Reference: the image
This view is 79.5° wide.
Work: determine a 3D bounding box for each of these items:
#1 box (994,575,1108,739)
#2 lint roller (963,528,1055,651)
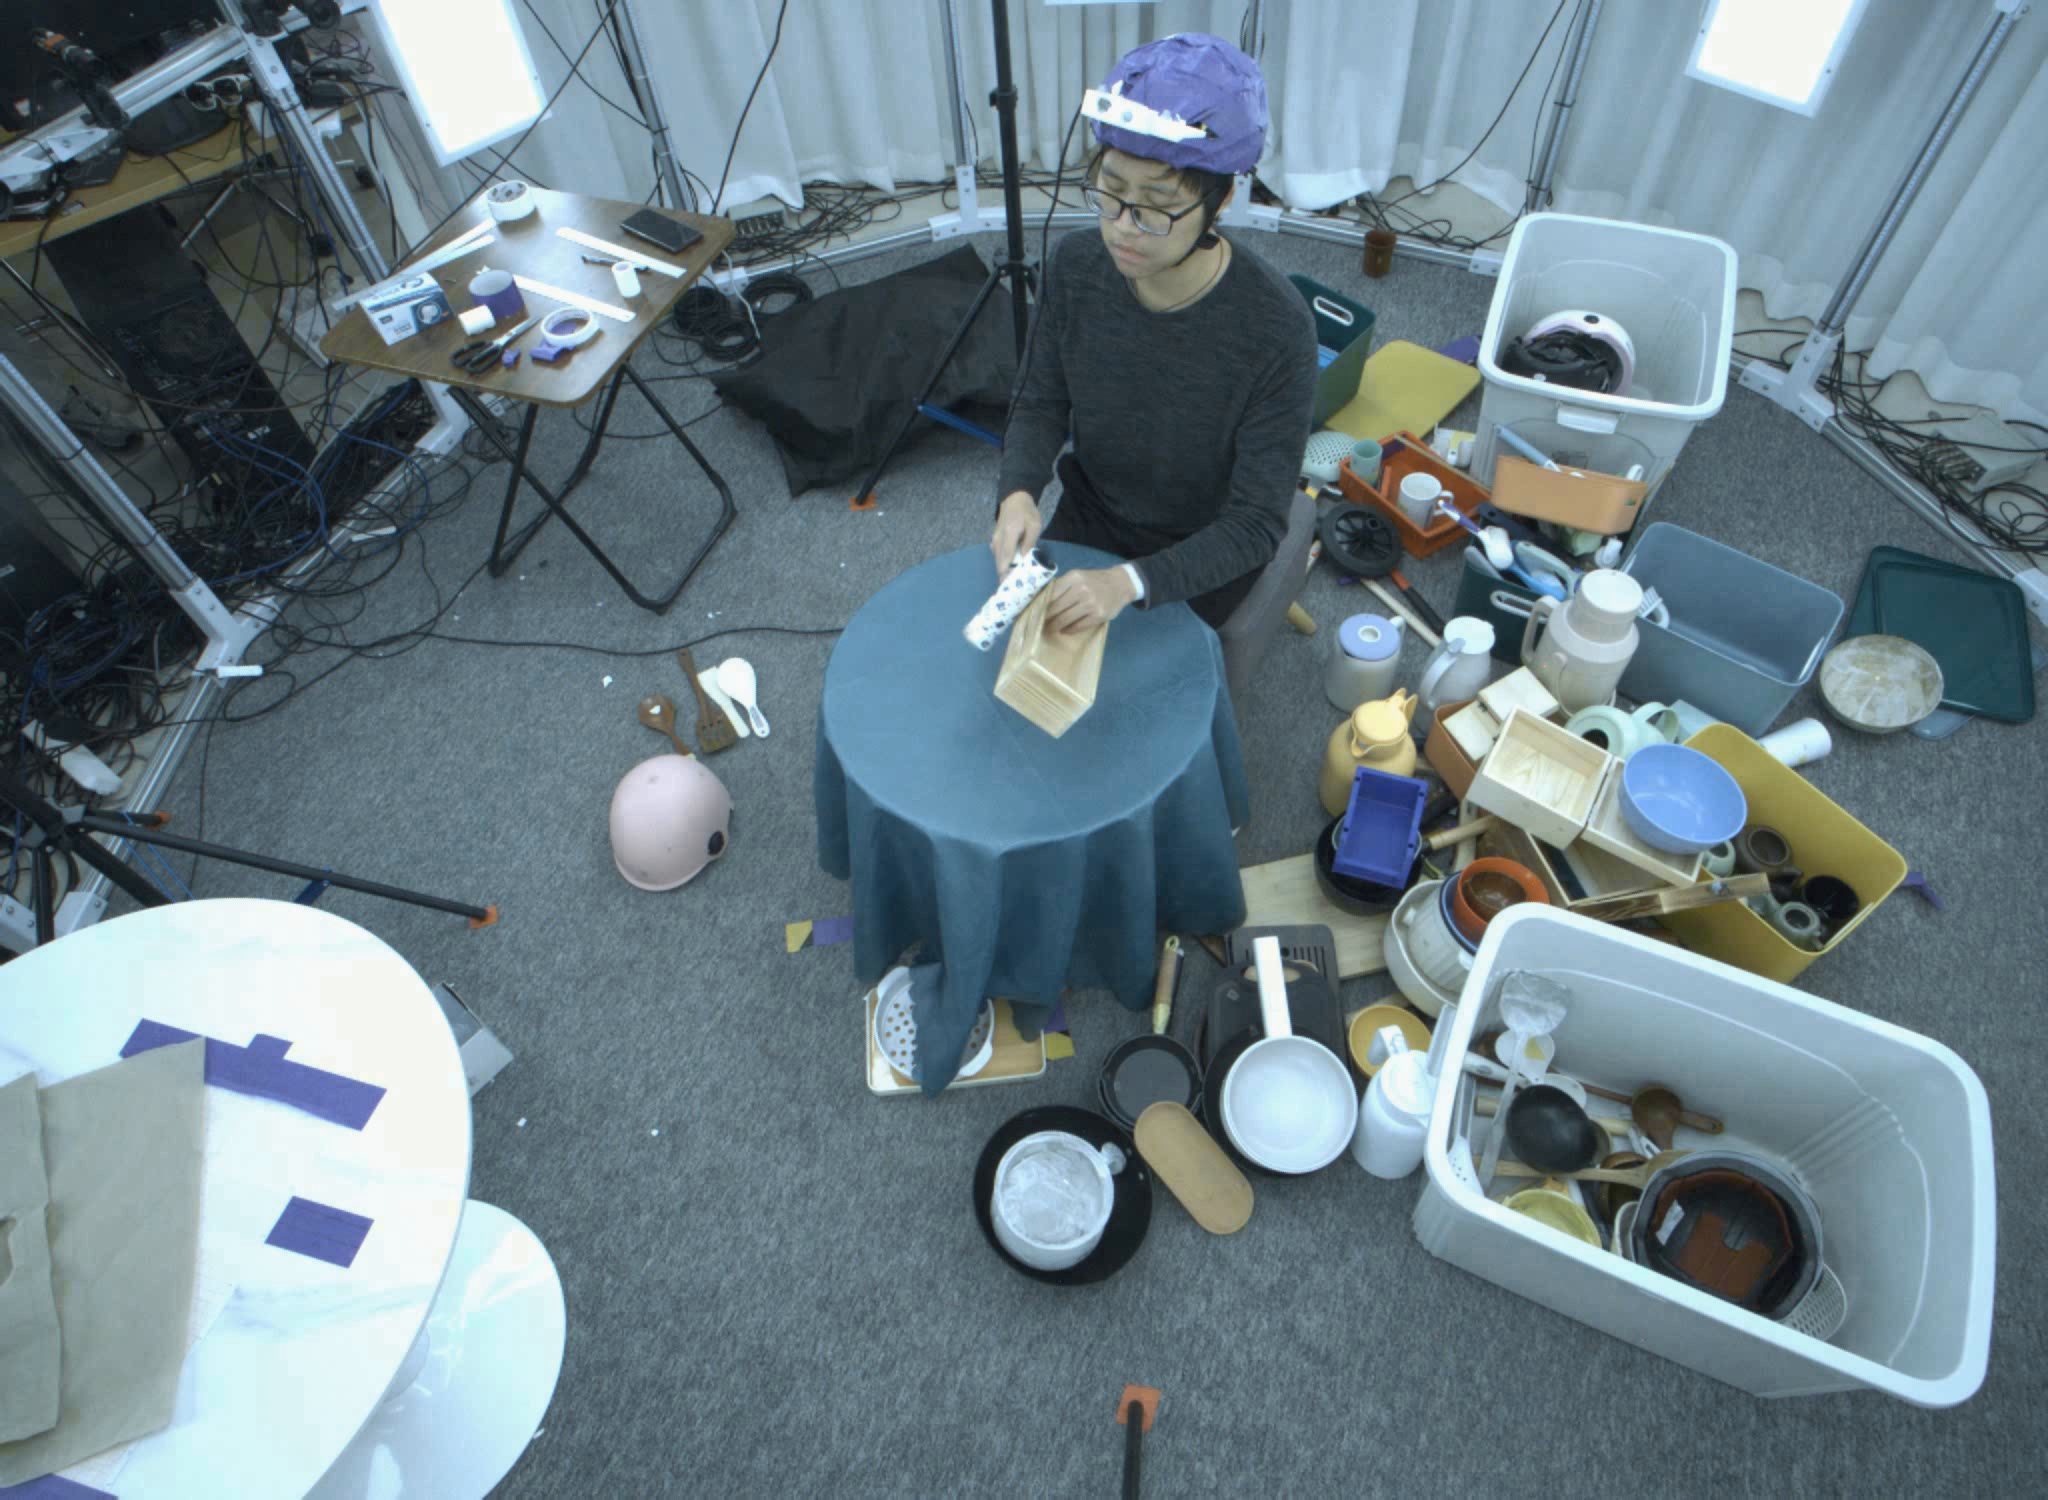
[{"bbox_3d":[0.039,-0.127,1.649,0.109,0.079,0.210,35,35,-18],"label":"box"},{"bbox_3d":[-0.016,-0.265,1.783,0.051,0.175,0.245,32,31,-18],"label":"lint roller"}]
